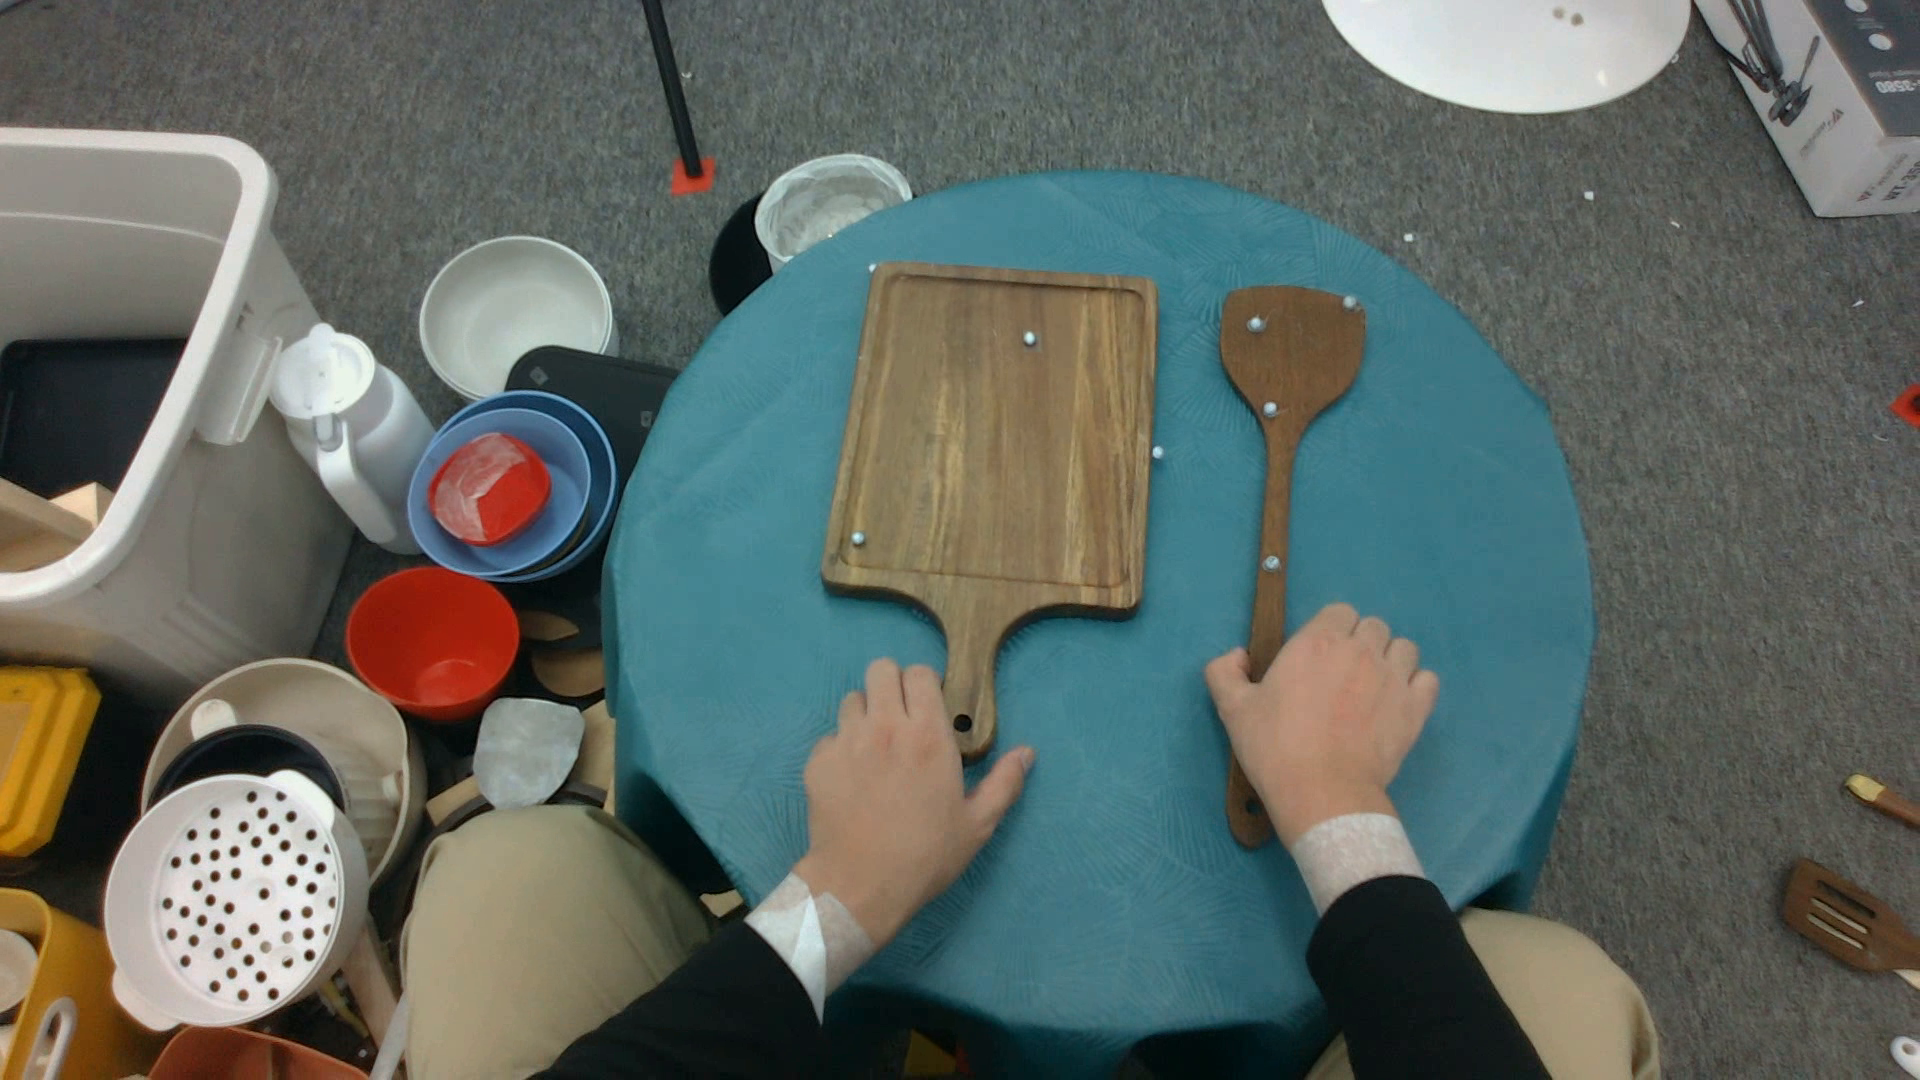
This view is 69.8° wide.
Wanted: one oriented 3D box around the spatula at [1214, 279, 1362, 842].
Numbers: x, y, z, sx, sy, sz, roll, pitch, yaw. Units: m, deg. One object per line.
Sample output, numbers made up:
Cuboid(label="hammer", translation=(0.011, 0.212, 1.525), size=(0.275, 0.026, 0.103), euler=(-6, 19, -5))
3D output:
Cuboid(label="spatula", translation=(0.191, -0.005, 0.842), size=(0.096, 0.016, 0.387), euler=(8, 63, 6))

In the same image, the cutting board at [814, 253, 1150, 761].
Cuboid(label="cutting board", translation=(0.015, -0.033, 0.858), size=(0.201, 0.023, 0.353), euler=(4, 62, 4))
